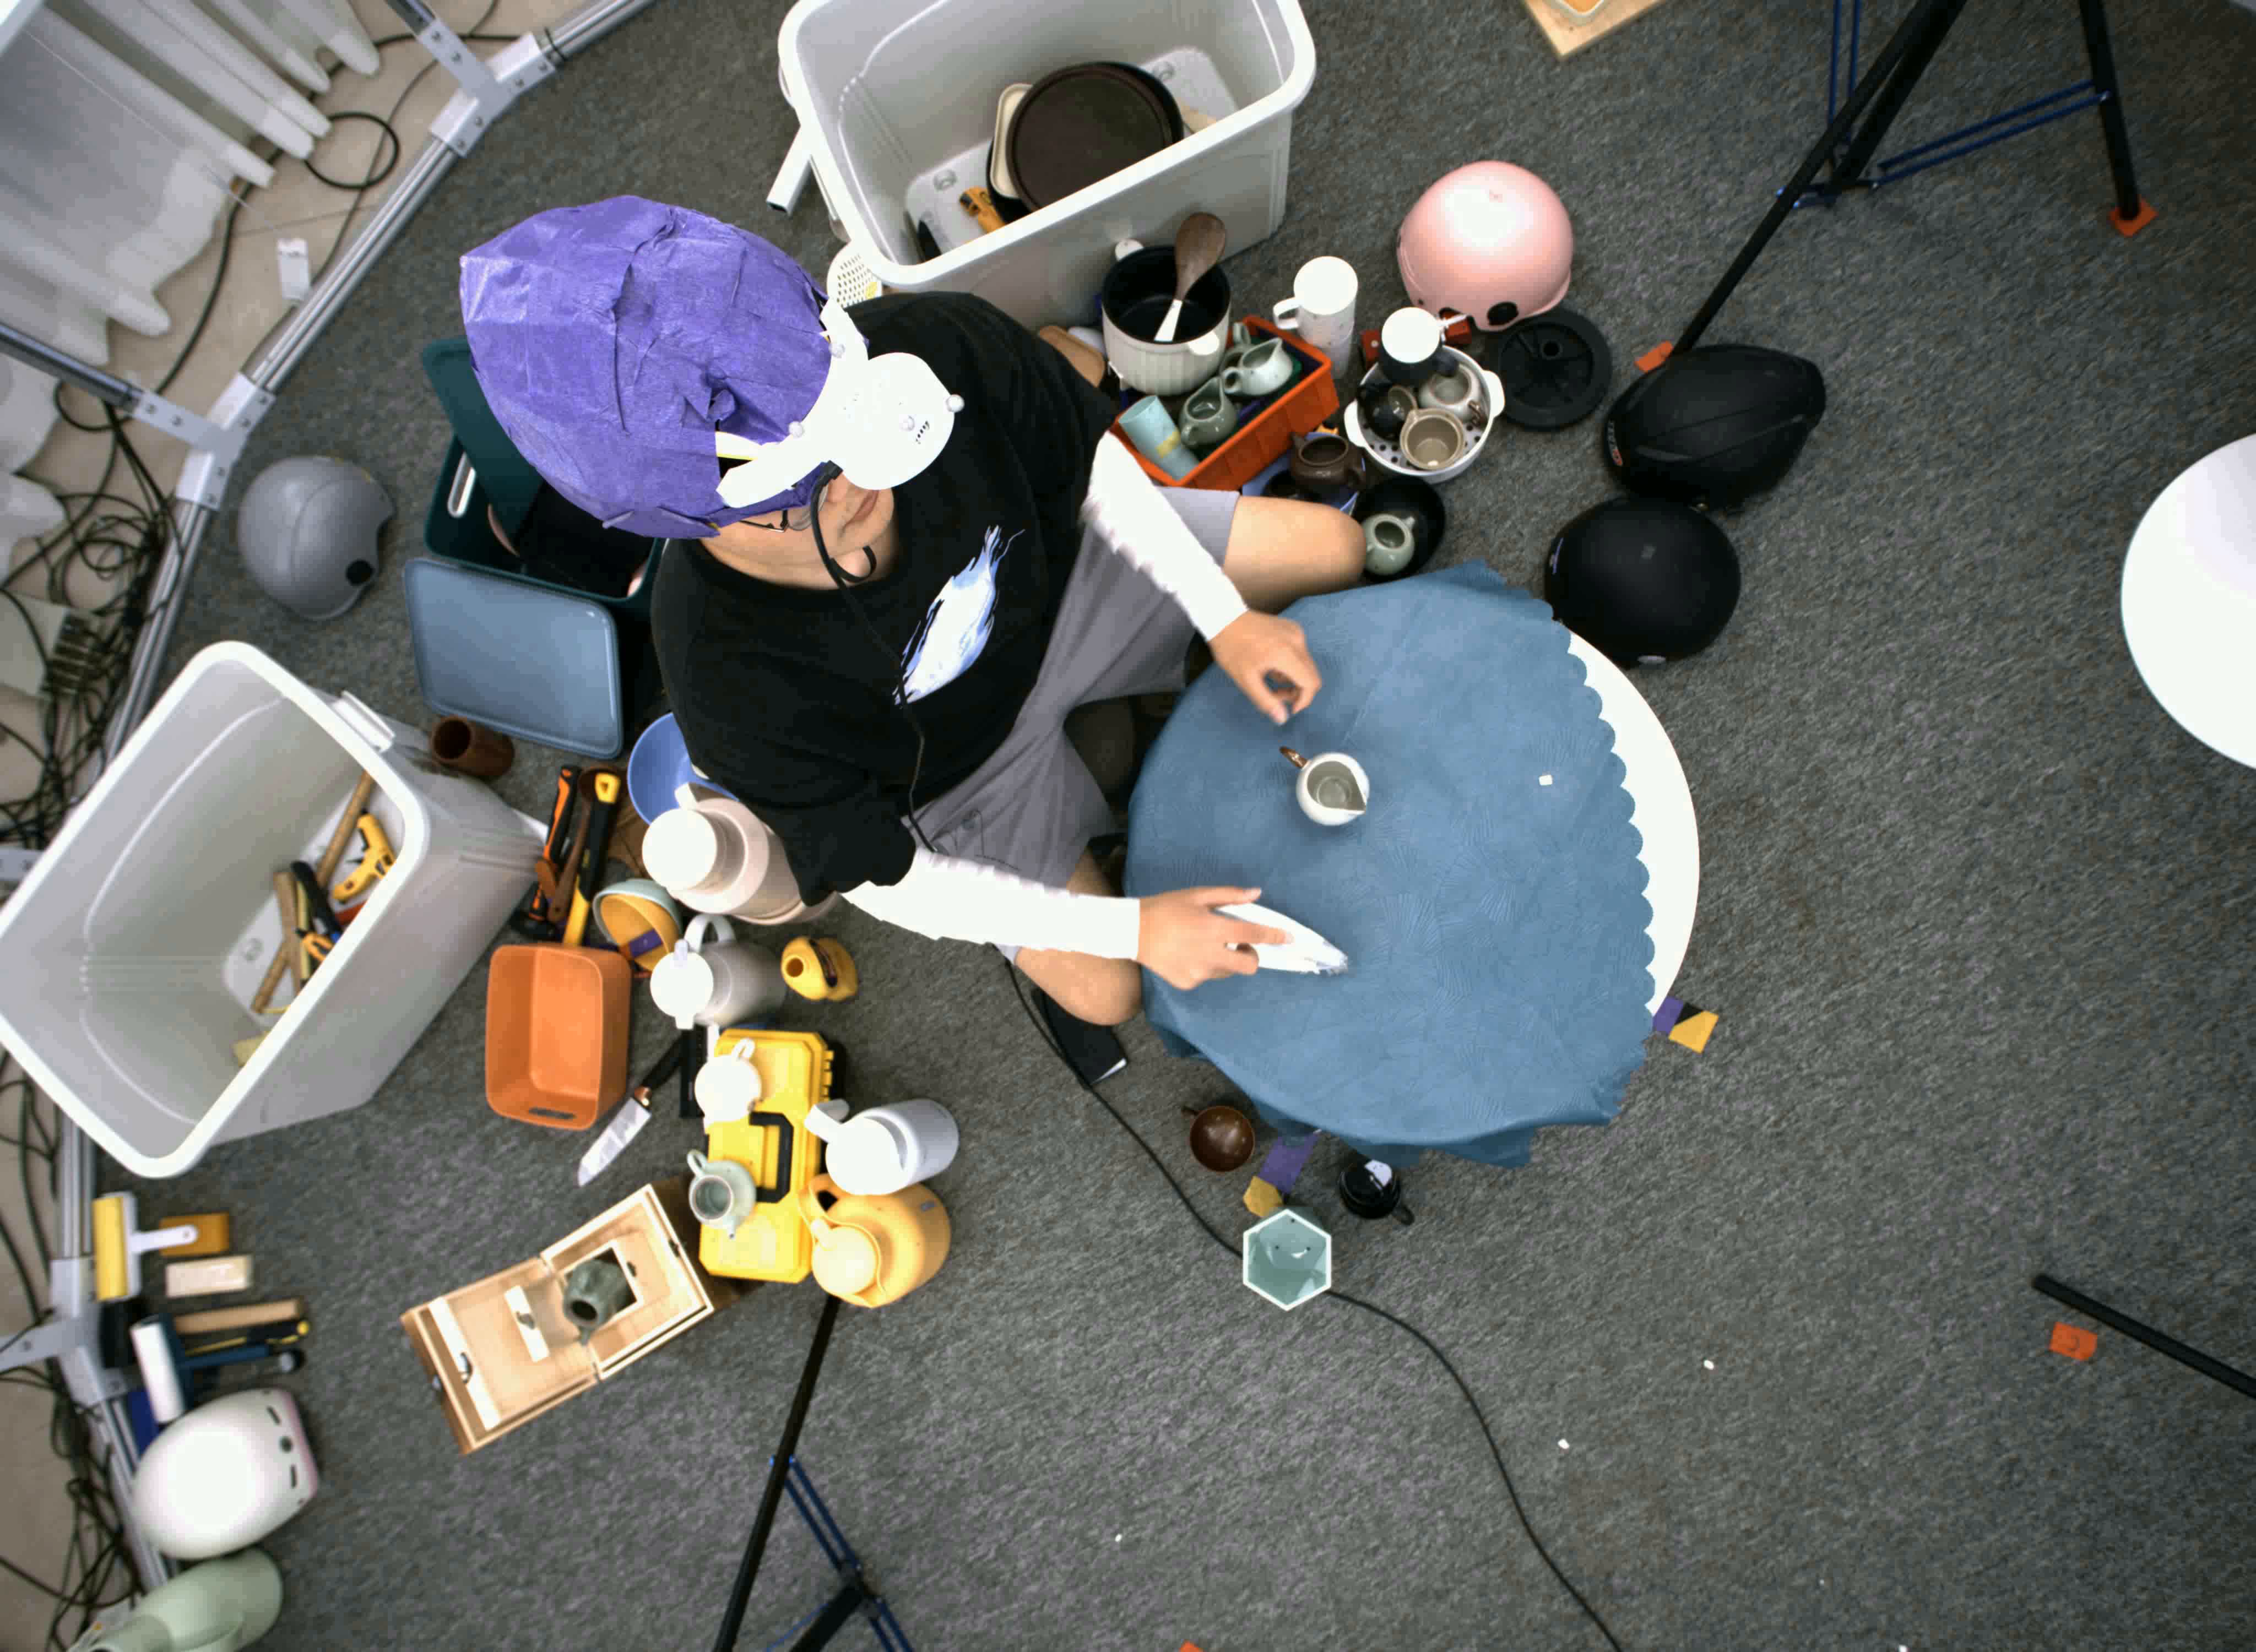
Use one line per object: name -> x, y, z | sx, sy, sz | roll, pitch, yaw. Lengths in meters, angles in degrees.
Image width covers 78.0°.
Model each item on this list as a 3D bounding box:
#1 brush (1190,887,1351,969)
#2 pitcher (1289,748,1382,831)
brush -> 0.148, 0.113, 1.431 | 0.175, 0.094, 0.061 | 19, 90, 7
pitcher -> 0.214, -0.038, 1.431 | 0.119, 0.088, 0.076 | 42, 89, 9
